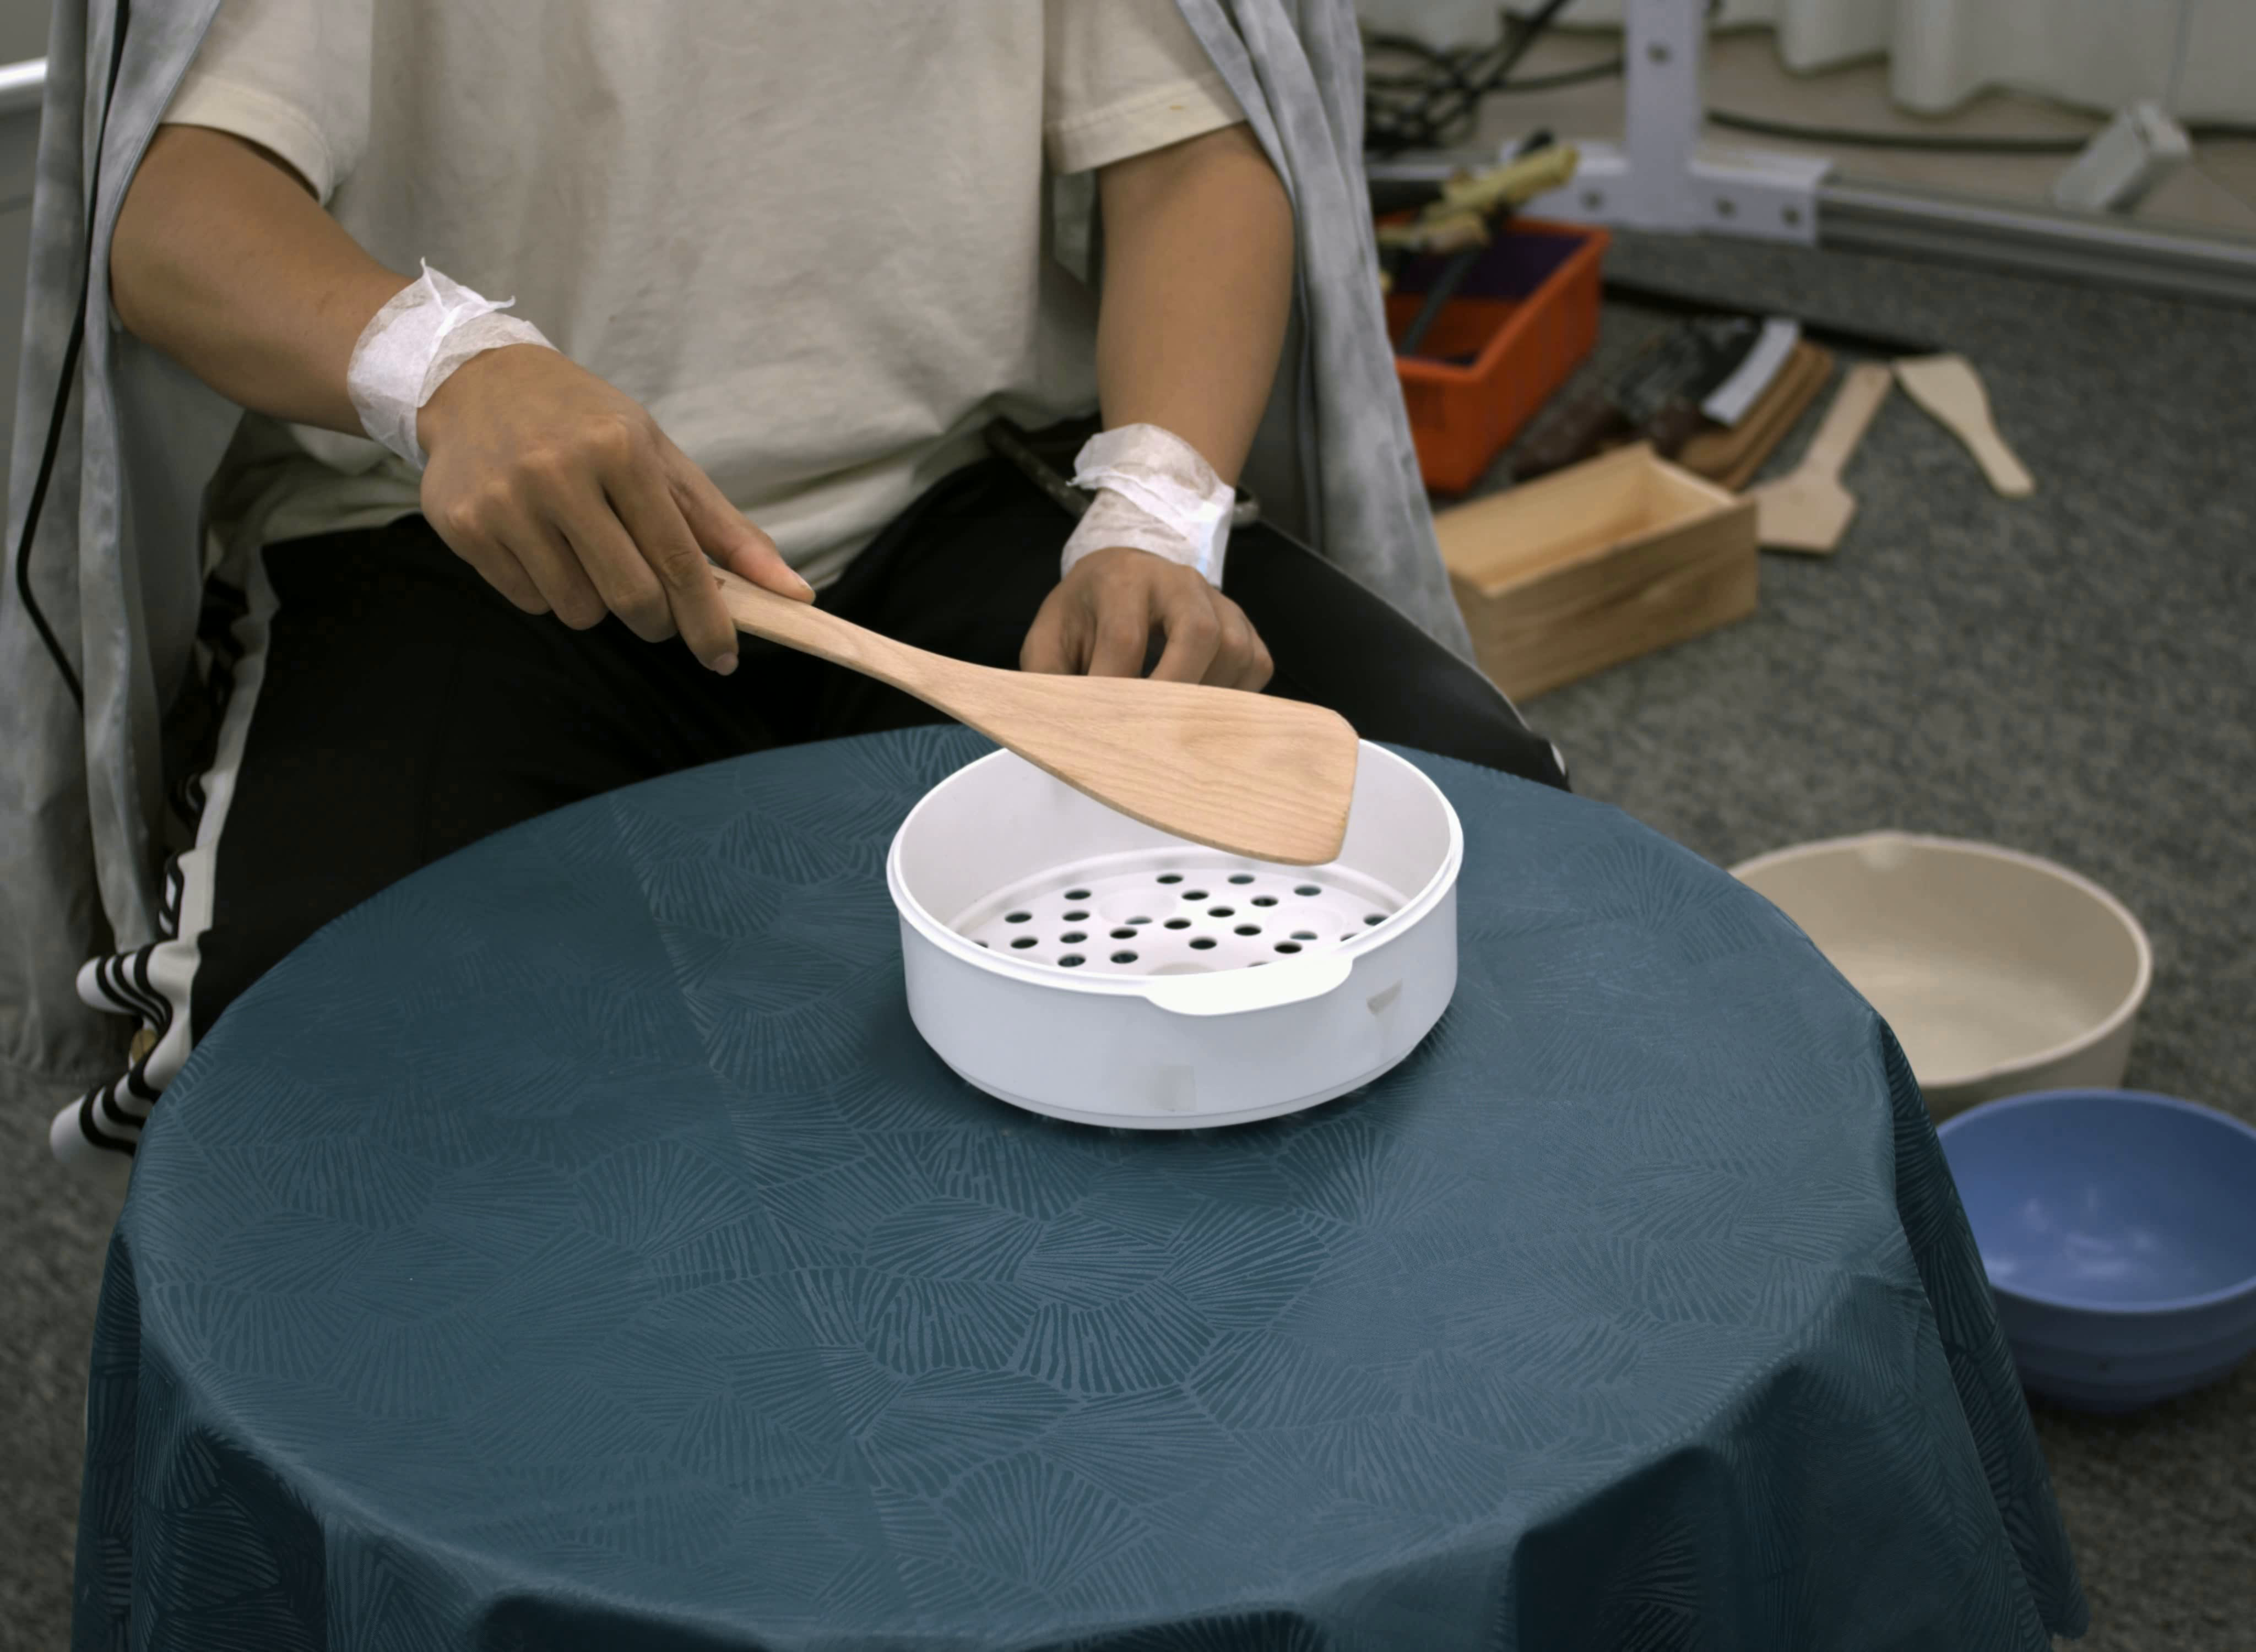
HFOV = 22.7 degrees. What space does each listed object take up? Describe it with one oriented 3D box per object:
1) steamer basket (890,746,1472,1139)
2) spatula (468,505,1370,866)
[{"bbox_3d":[0.019,0.037,1.951,0.202,0.068,0.233,-8,26,-12],"label":"steamer basket"},{"bbox_3d":[-0.071,-0.056,1.913,0.326,0.016,0.081,19,42,6],"label":"spatula"}]
